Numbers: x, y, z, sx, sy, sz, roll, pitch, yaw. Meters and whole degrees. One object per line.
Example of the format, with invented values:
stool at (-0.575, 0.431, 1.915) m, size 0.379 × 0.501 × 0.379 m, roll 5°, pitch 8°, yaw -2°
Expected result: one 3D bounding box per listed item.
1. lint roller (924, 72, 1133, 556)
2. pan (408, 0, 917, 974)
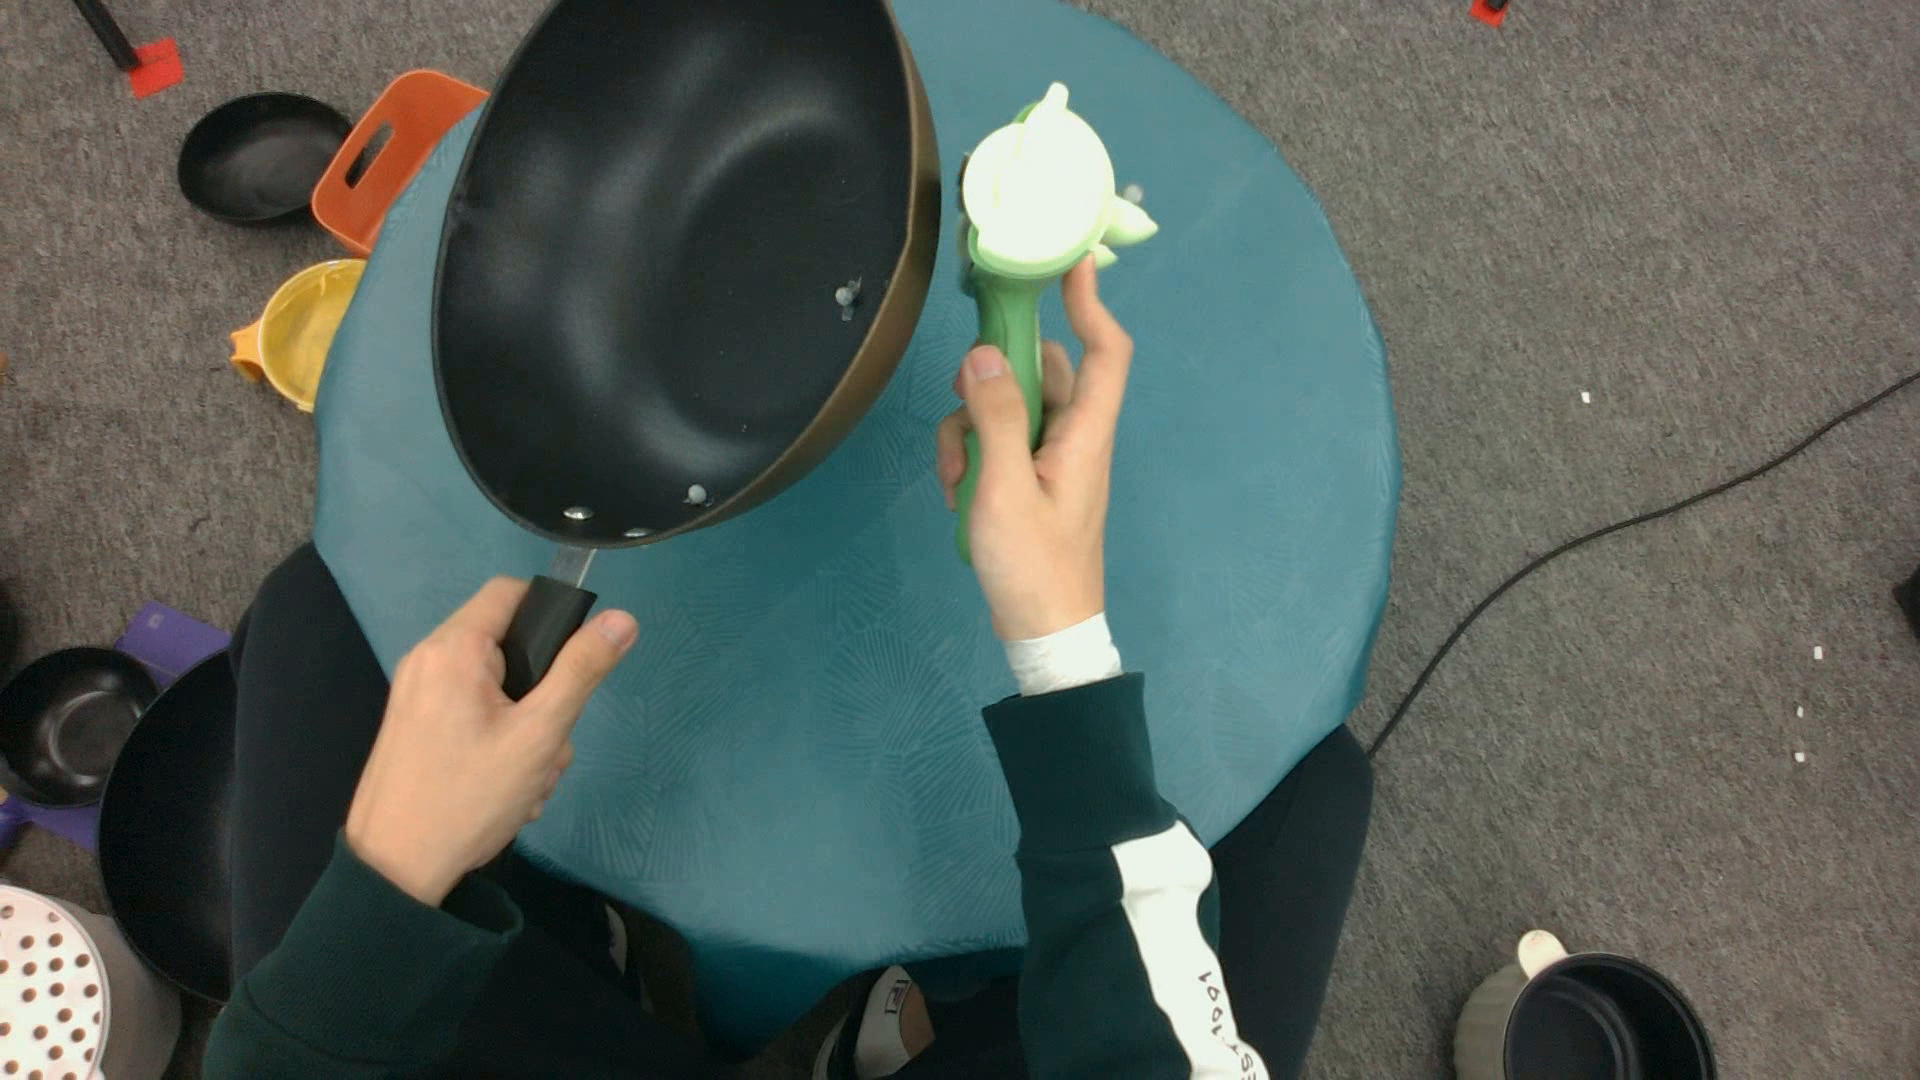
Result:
lint roller at (0.025, -0.086, 0.582) m, size 0.082 × 0.199 × 0.183 m, roll -5°, pitch 98°, yaw -3°
pan at (-0.142, -0.041, 0.600) m, size 0.287 × 0.087 × 0.463 m, roll 12°, pitch 89°, yaw 35°
